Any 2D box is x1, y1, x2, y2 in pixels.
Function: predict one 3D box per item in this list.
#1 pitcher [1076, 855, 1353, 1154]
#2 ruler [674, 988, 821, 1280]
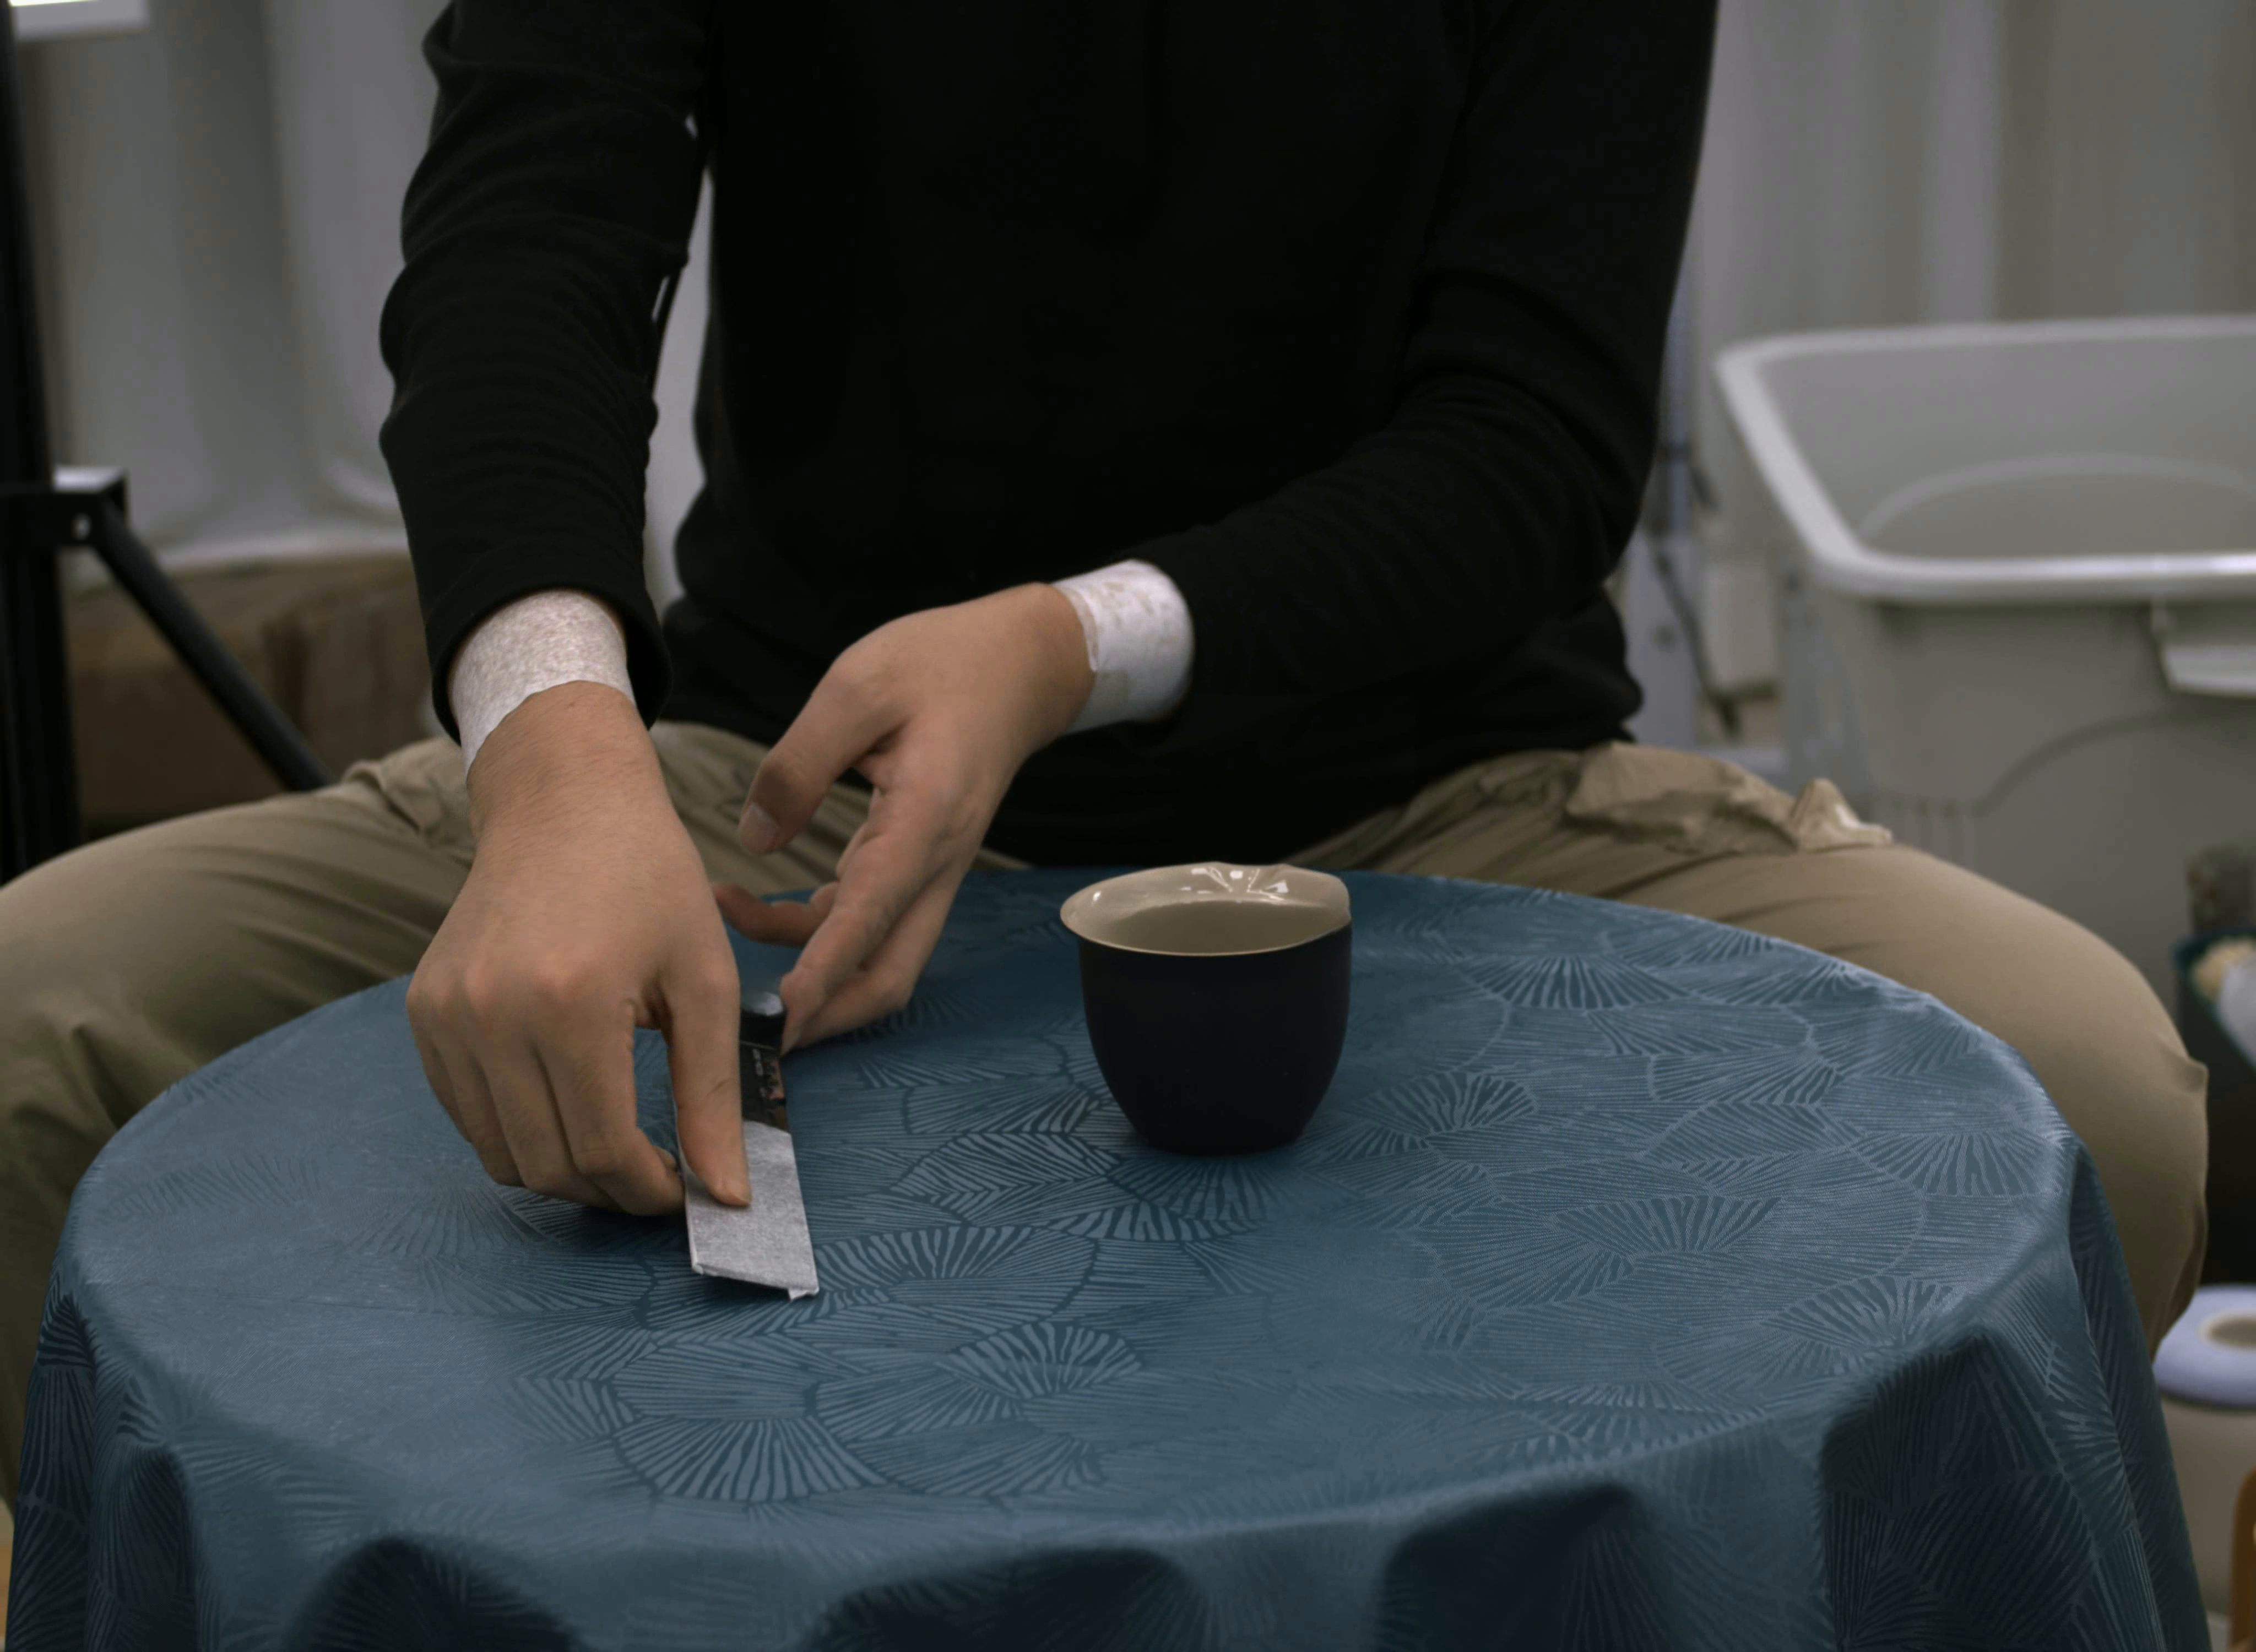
[{"bbox_3d":[0.029,0.056,1.603,0.084,0.071,0.095,1,17,16],"label":"pitcher"},{"bbox_3d":[-0.114,0.089,1.583,0.038,0.024,0.220,3,14,-7],"label":"ruler"}]
